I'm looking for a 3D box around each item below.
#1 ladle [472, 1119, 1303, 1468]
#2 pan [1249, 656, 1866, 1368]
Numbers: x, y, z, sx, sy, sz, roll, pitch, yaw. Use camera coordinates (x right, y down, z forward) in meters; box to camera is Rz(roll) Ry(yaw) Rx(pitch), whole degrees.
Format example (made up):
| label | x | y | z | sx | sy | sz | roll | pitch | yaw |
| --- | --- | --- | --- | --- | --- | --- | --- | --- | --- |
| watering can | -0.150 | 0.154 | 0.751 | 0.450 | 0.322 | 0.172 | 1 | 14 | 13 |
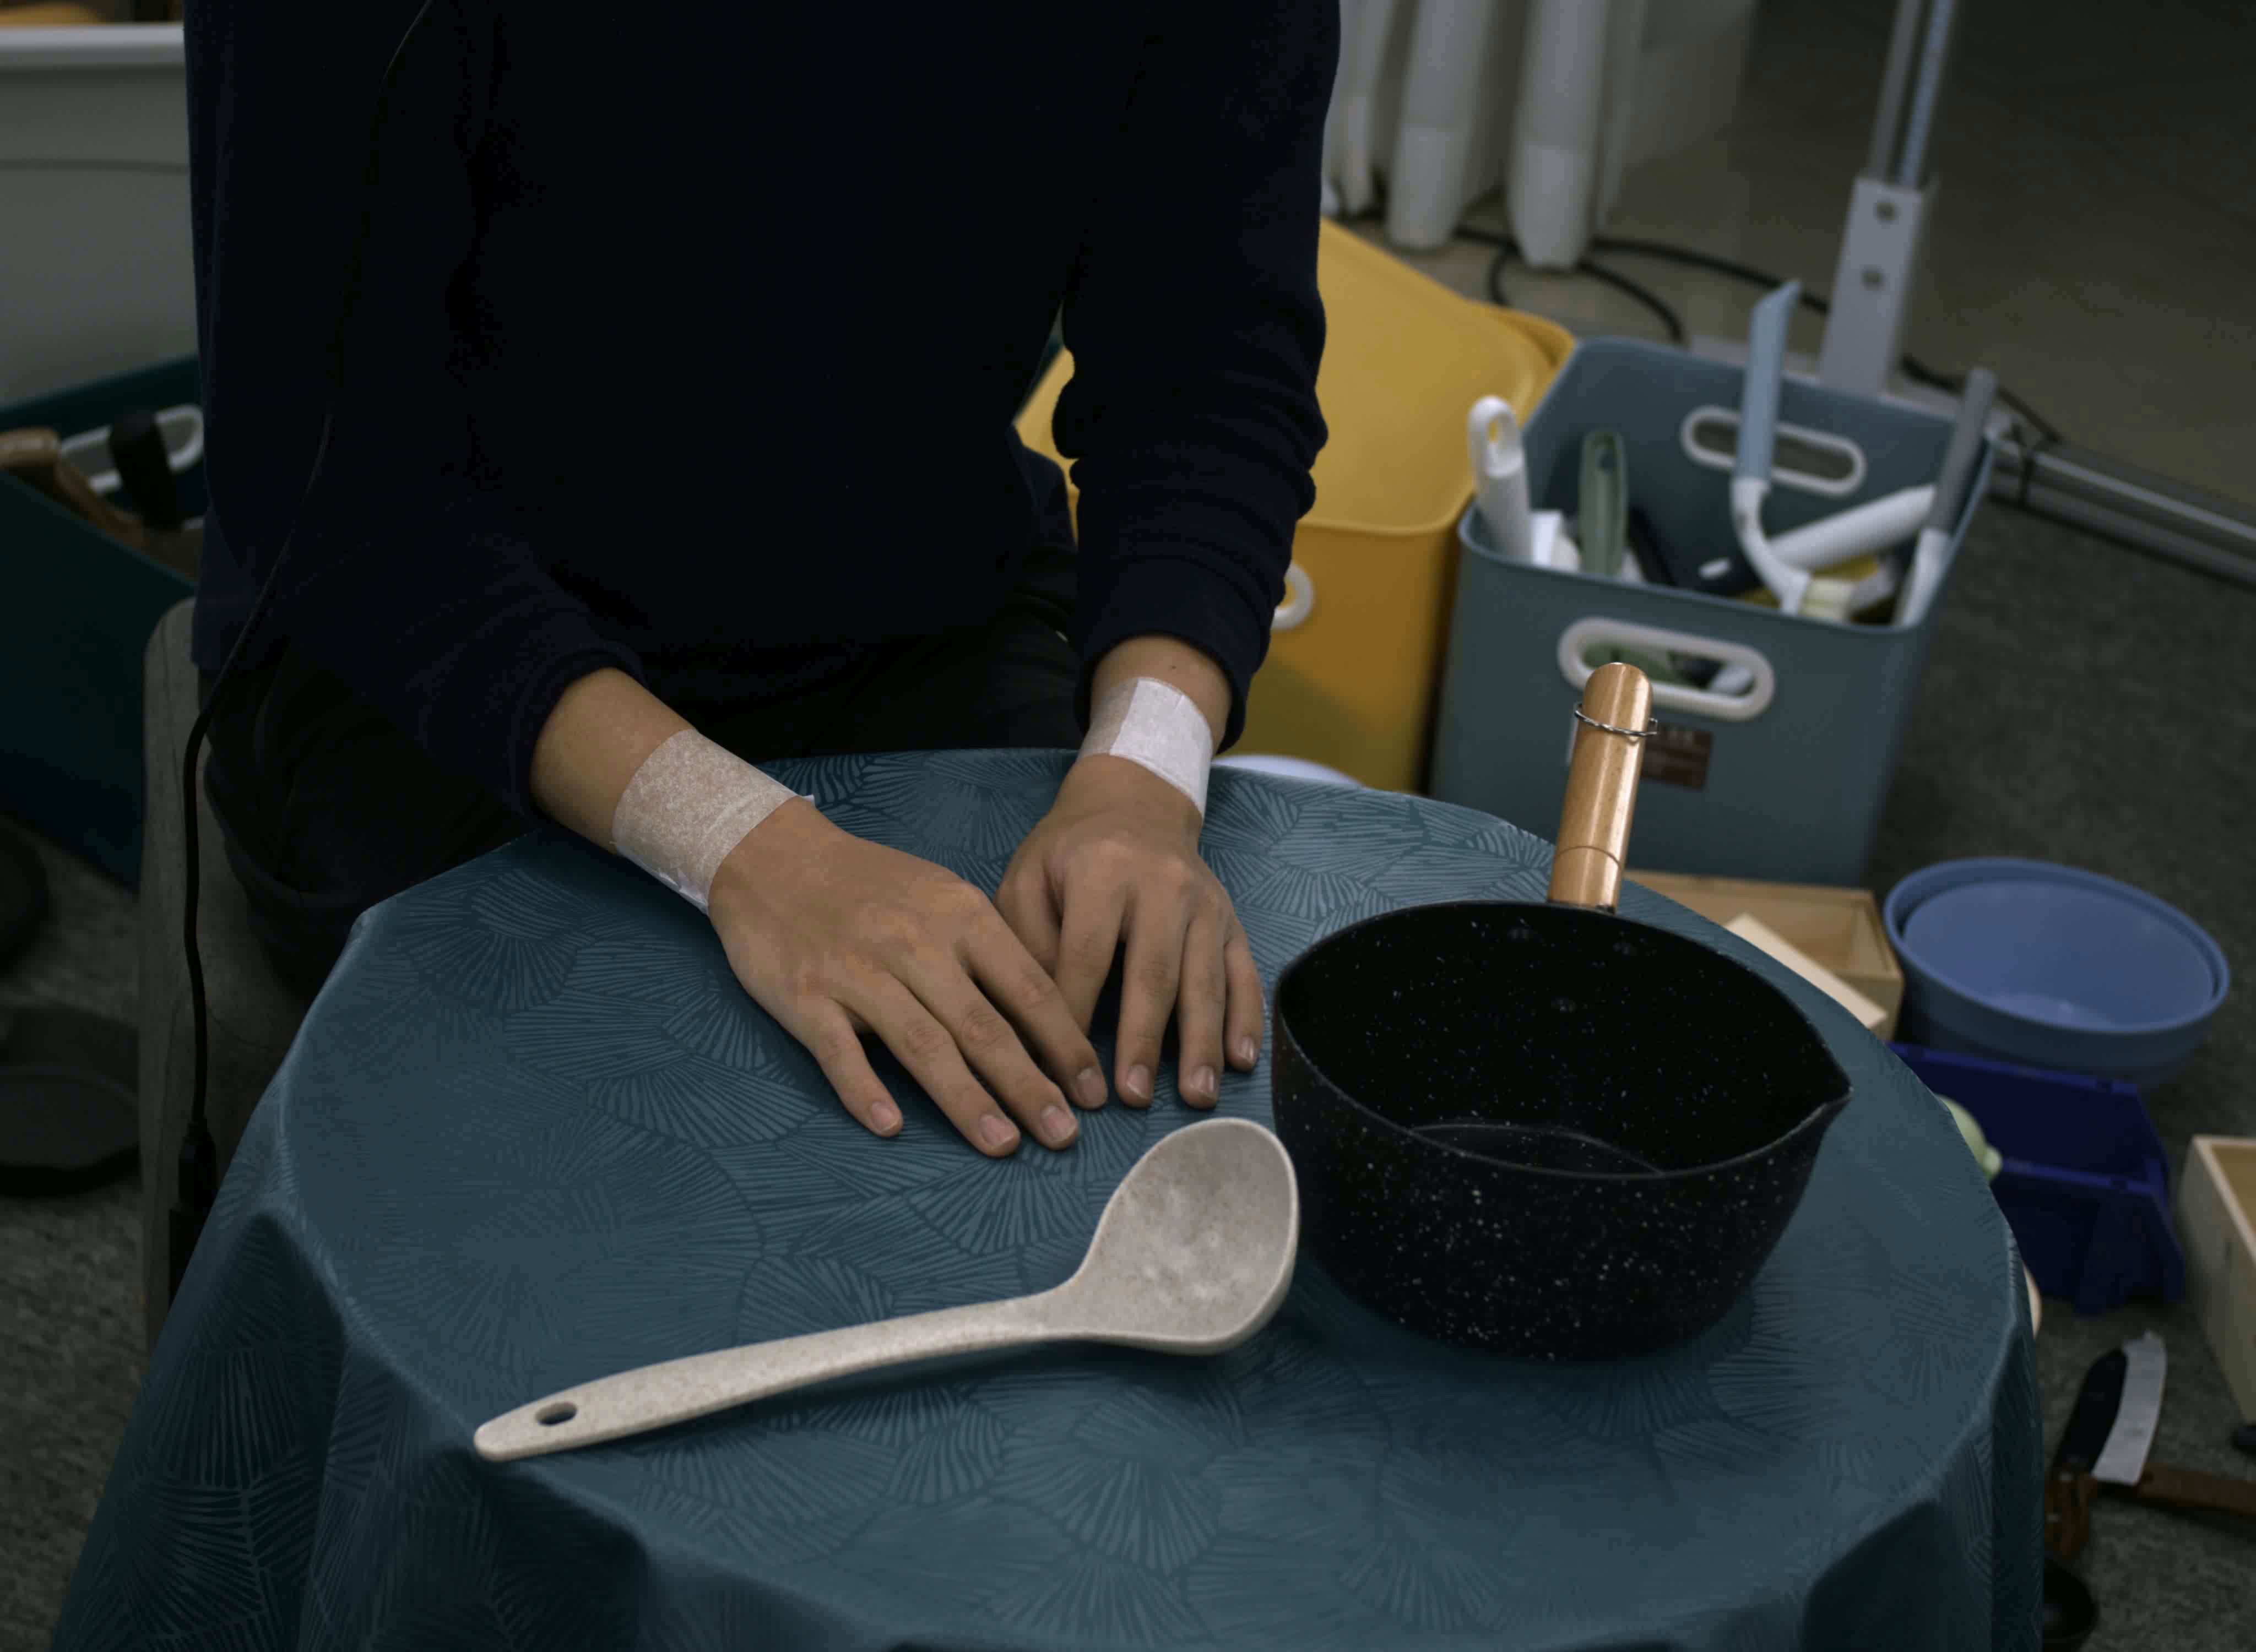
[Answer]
| label | x | y | z | sx | sy | sz | roll | pitch | yaw |
| --- | --- | --- | --- | --- | --- | --- | --- | --- | --- |
| ladle | -0.073 | 0.148 | 1.666 | 0.273 | 0.069 | 0.090 | -8 | 37 | -26 |
| pan | 0.150 | 0.060 | 1.843 | 0.207 | 0.108 | 0.344 | 8 | 28 | 5 |
